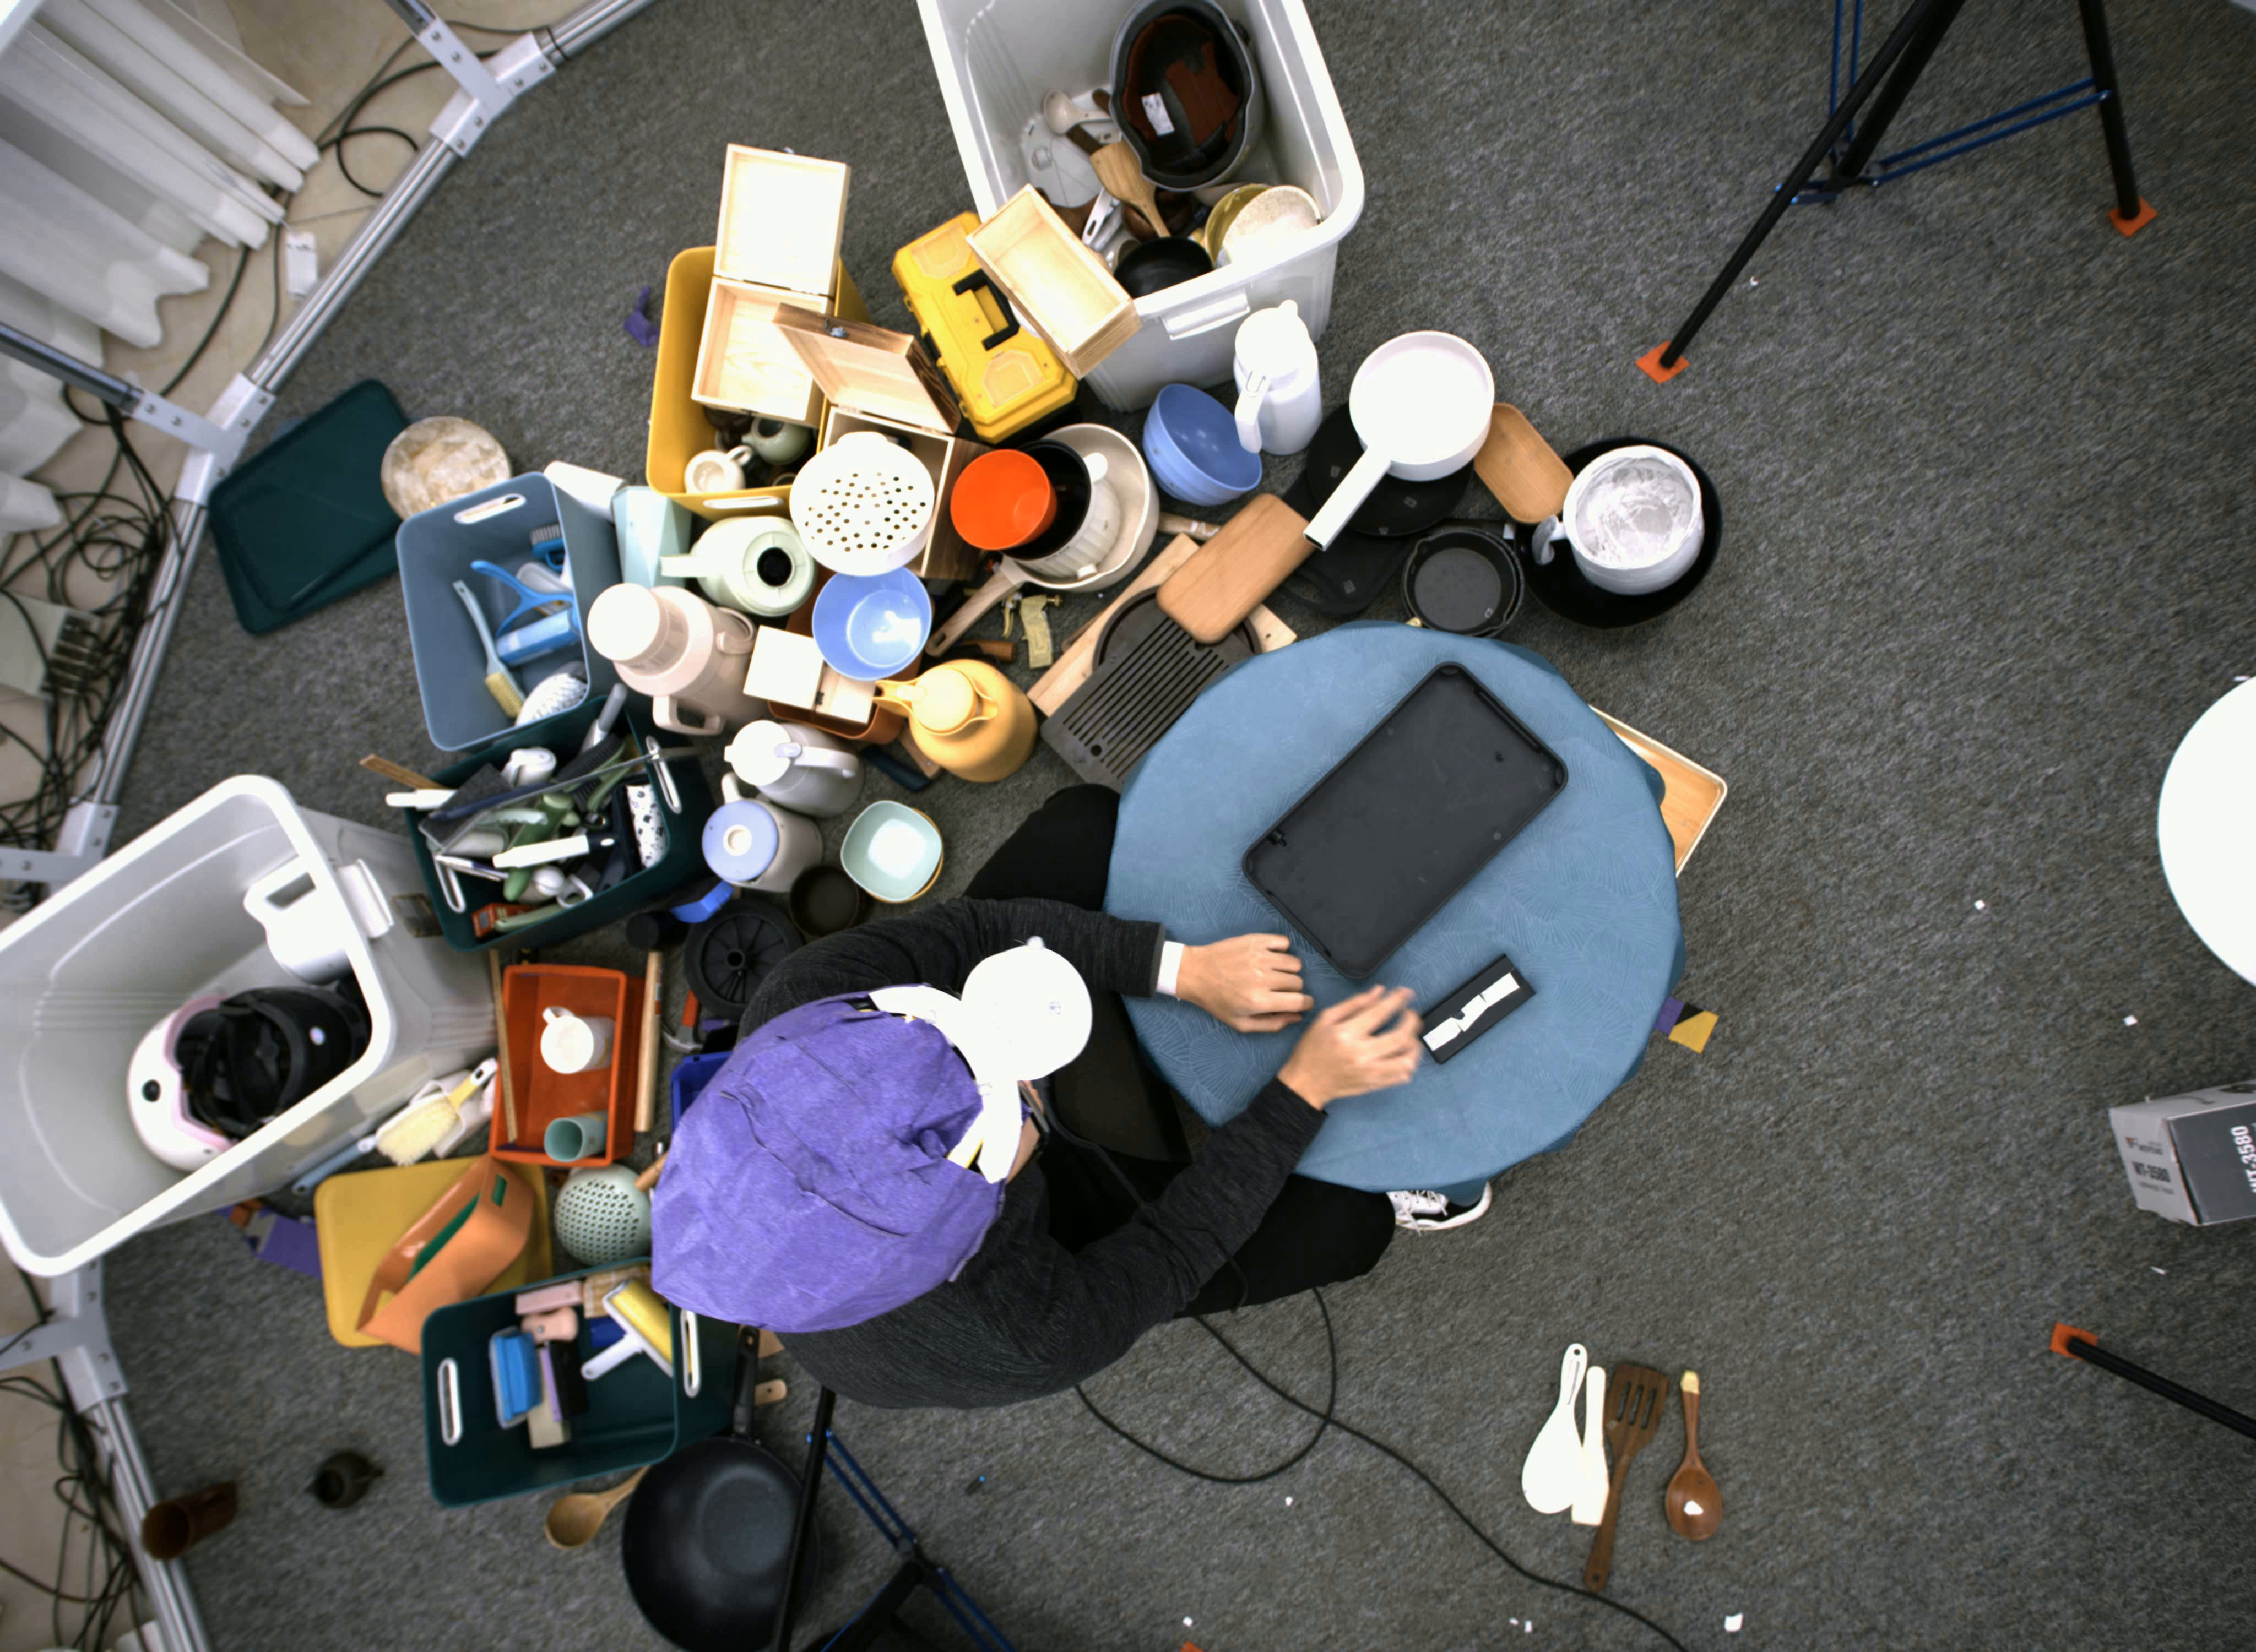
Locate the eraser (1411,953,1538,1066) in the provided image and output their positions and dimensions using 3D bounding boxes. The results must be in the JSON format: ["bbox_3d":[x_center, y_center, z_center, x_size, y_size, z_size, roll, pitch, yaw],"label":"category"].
[{"bbox_3d":[0.357,0.187,1.423,0.126,0.030,0.053,-39,78,7],"label":"eraser"}]

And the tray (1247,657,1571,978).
[{"bbox_3d":[0.292,-0.010,1.443,0.183,0.037,0.319,45,96,10],"label":"tray"}]
